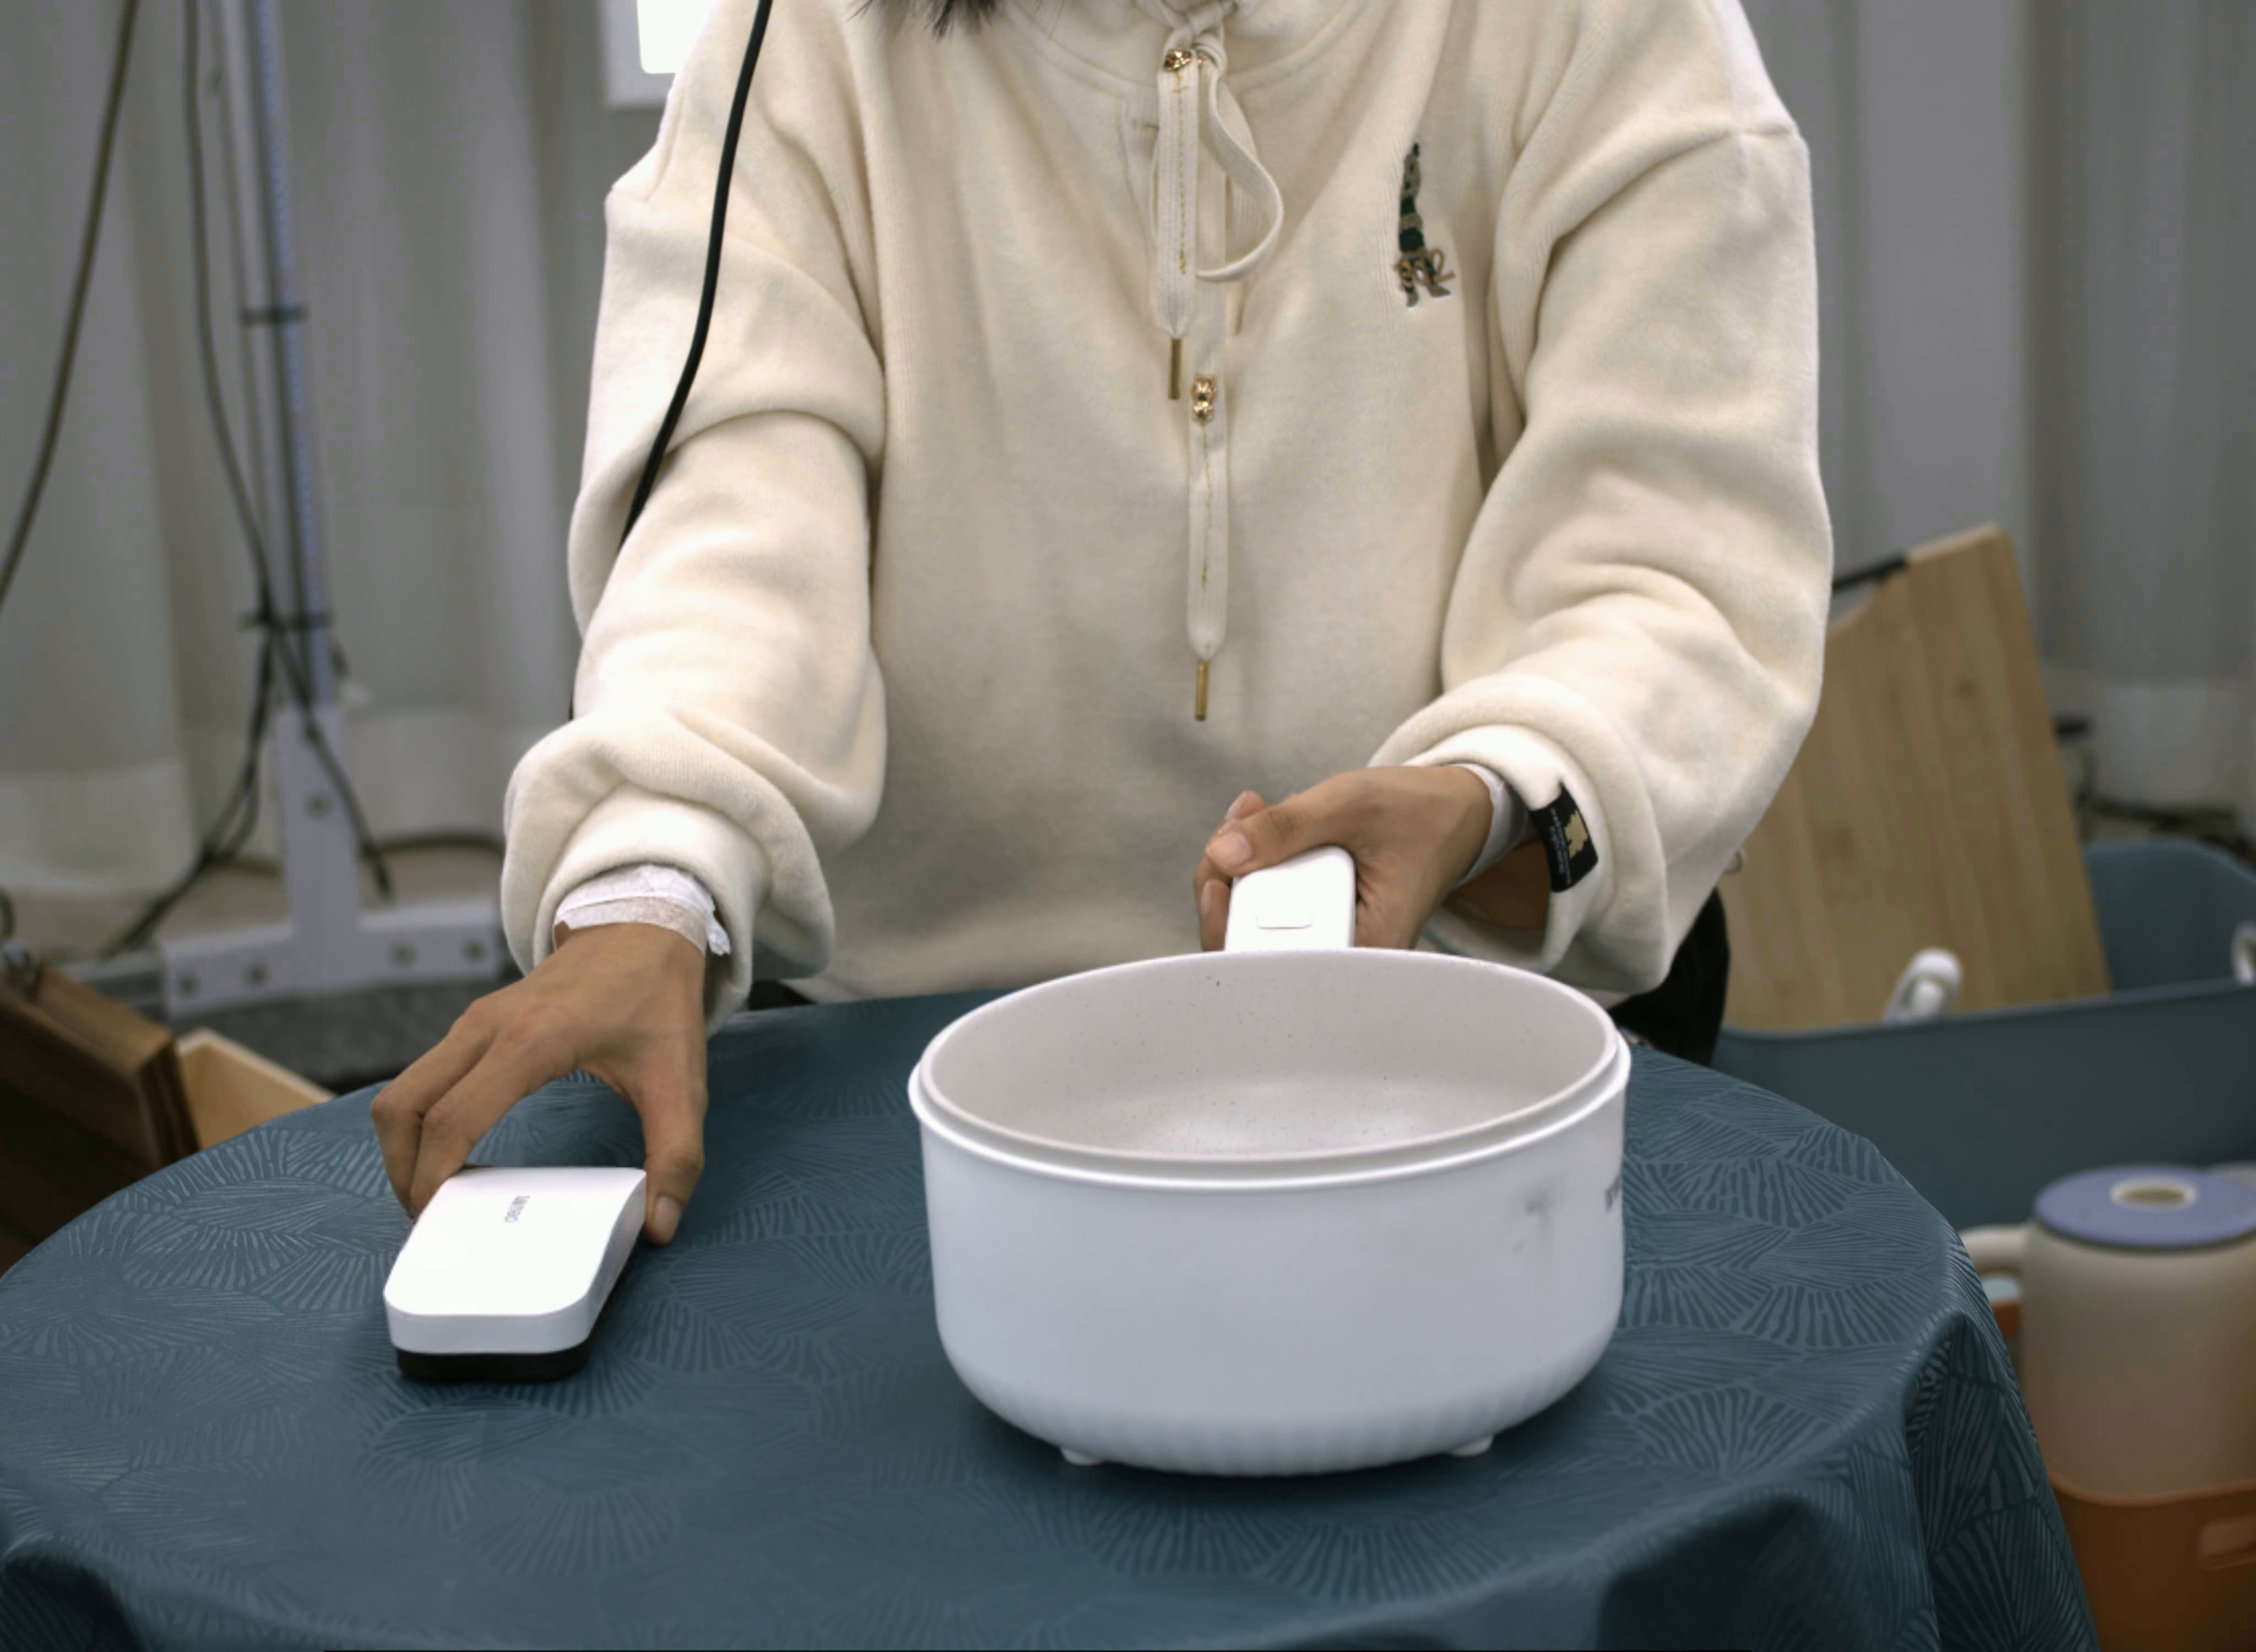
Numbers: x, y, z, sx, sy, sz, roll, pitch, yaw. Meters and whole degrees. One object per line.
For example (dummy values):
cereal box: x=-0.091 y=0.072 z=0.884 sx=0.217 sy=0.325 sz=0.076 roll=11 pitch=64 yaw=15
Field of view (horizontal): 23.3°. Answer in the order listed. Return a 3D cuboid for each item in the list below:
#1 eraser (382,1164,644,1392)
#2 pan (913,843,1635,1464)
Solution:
eraser: x=-0.181 y=0.130 z=1.631 sx=0.063 sy=0.034 sz=0.132 roll=2 pitch=16 yaw=4
pan: x=0.045 y=0.091 z=1.603 sx=0.200 sy=0.102 sz=0.356 roll=0 pitch=13 yaw=4
